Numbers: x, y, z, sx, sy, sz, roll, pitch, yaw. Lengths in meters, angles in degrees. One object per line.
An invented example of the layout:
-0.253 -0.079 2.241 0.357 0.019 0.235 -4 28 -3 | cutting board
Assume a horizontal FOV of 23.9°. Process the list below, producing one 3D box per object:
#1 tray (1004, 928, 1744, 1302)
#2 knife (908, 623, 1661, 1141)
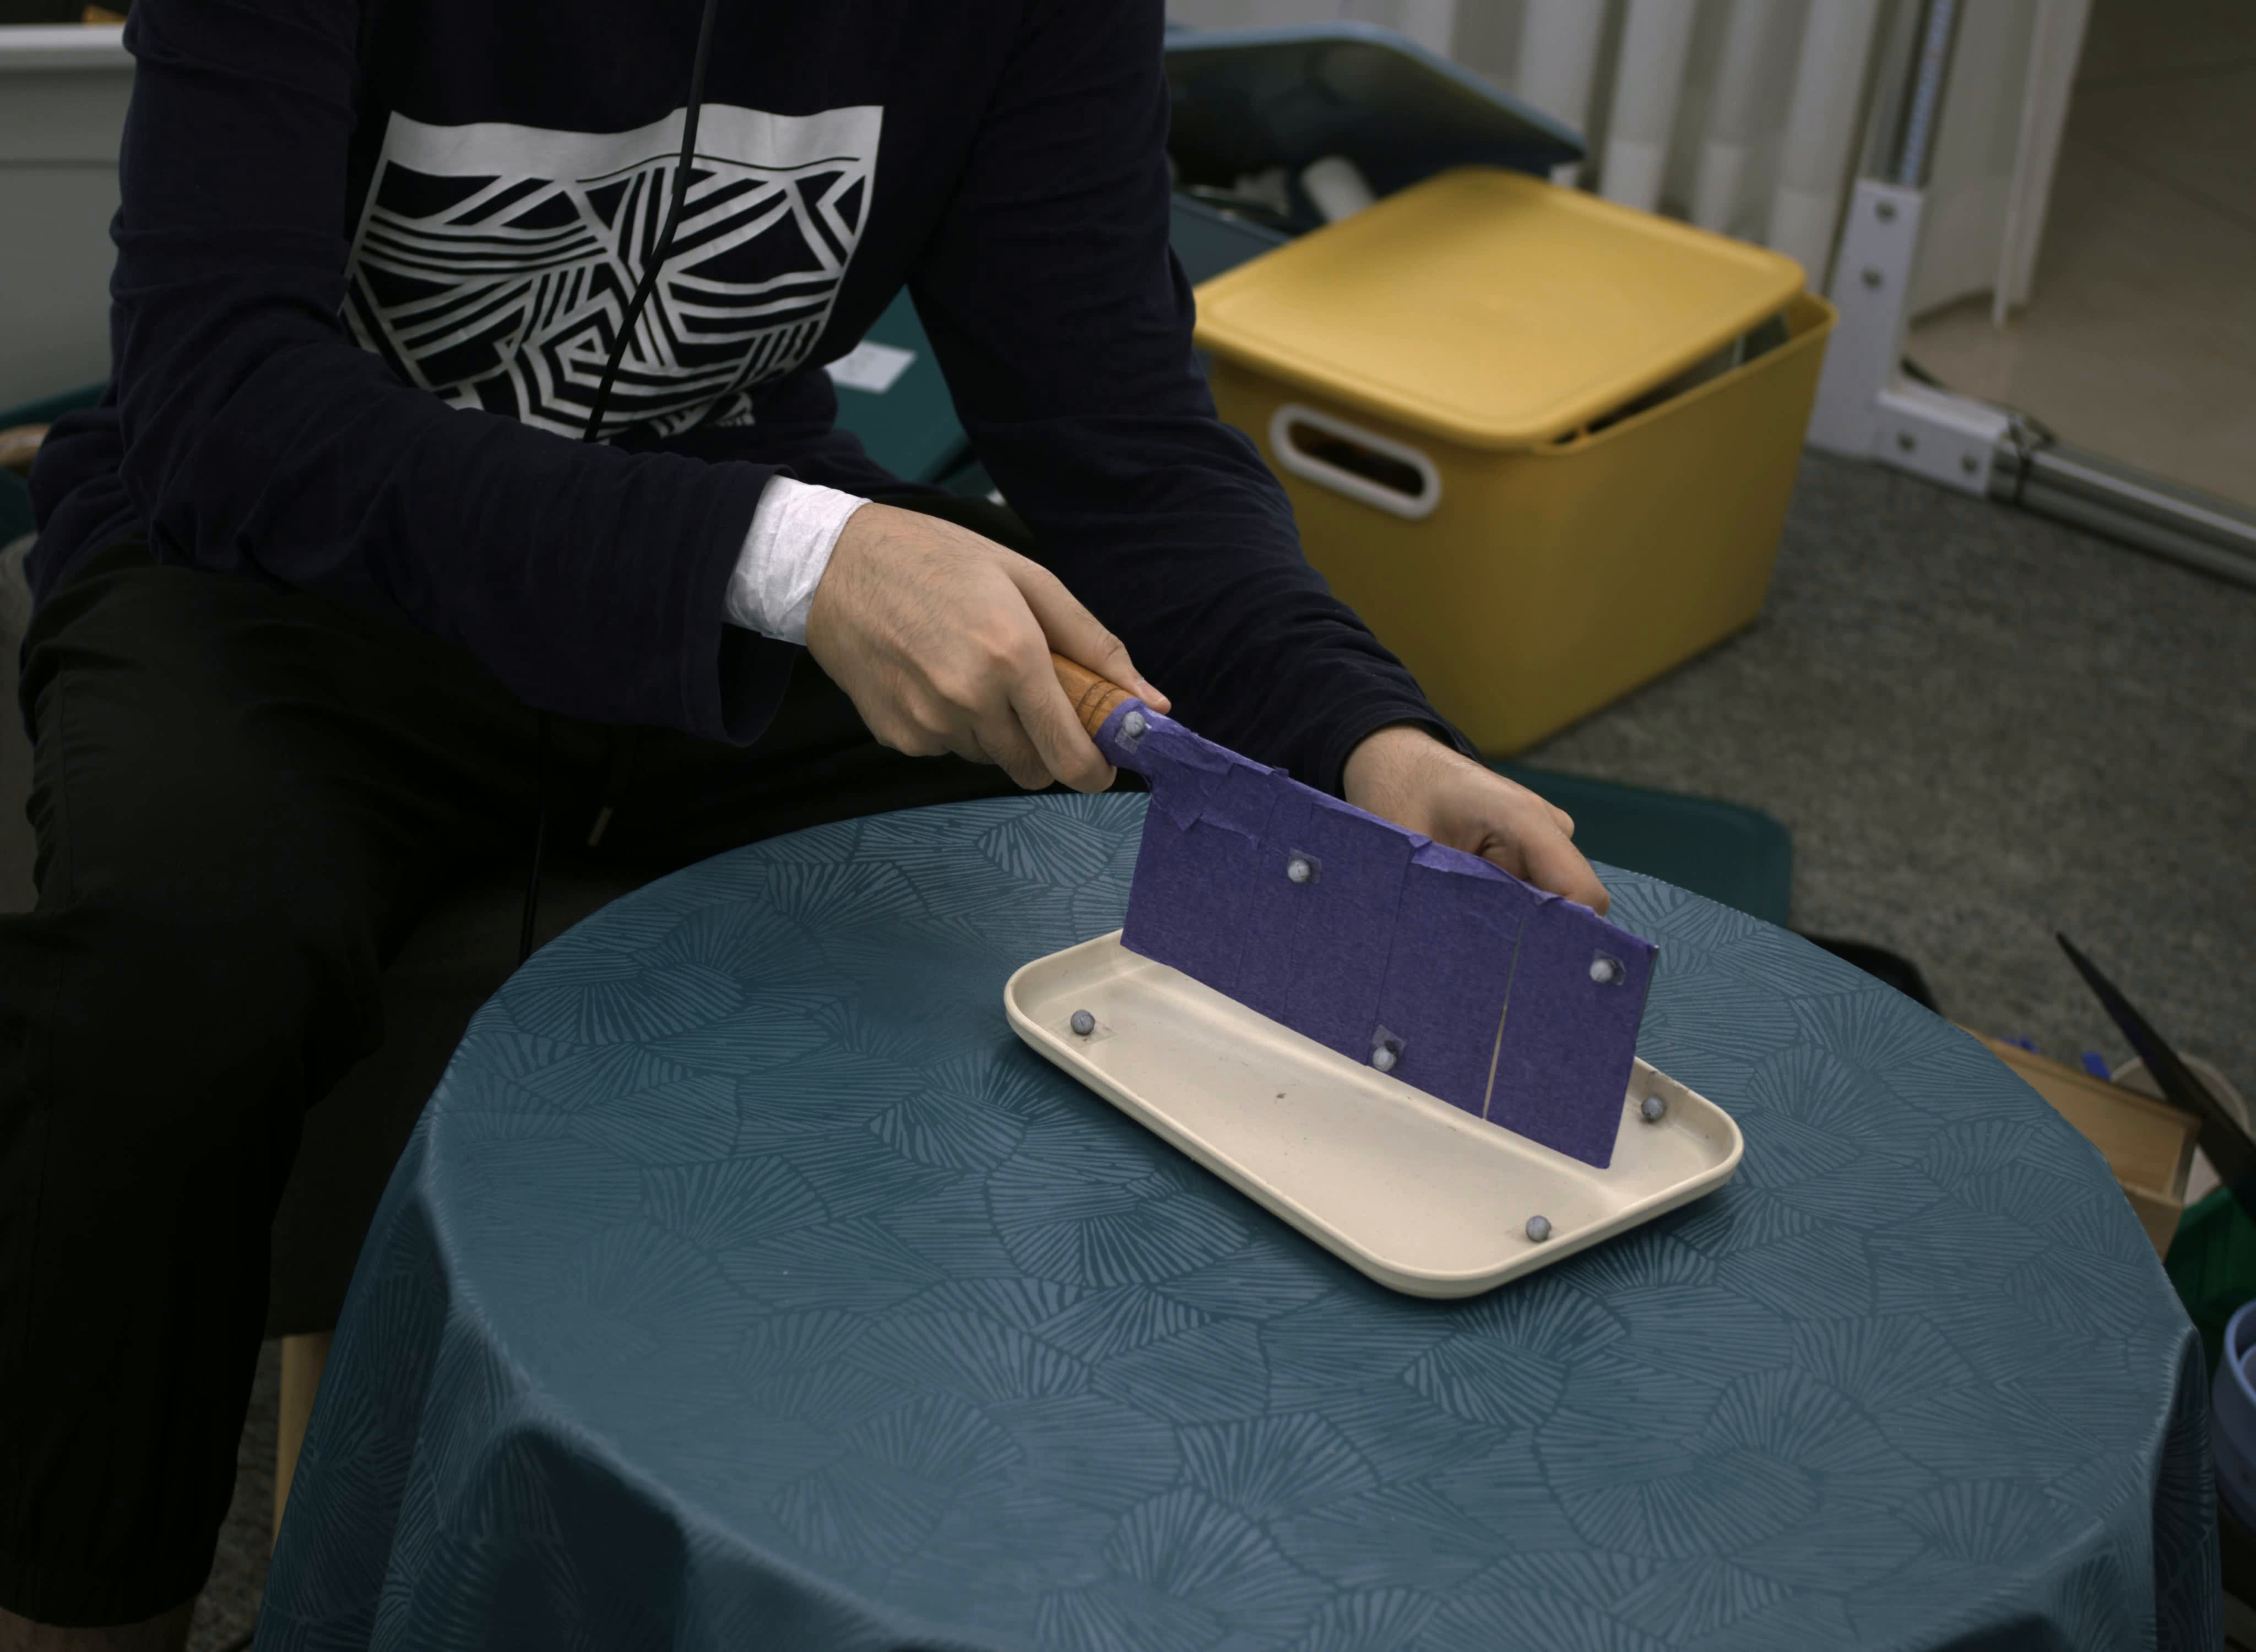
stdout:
0.084 0.090 1.865 0.170 0.017 0.241 -19 37 -36 | tray
0.046 0.022 1.877 0.317 0.103 0.032 25 26 31 | knife
